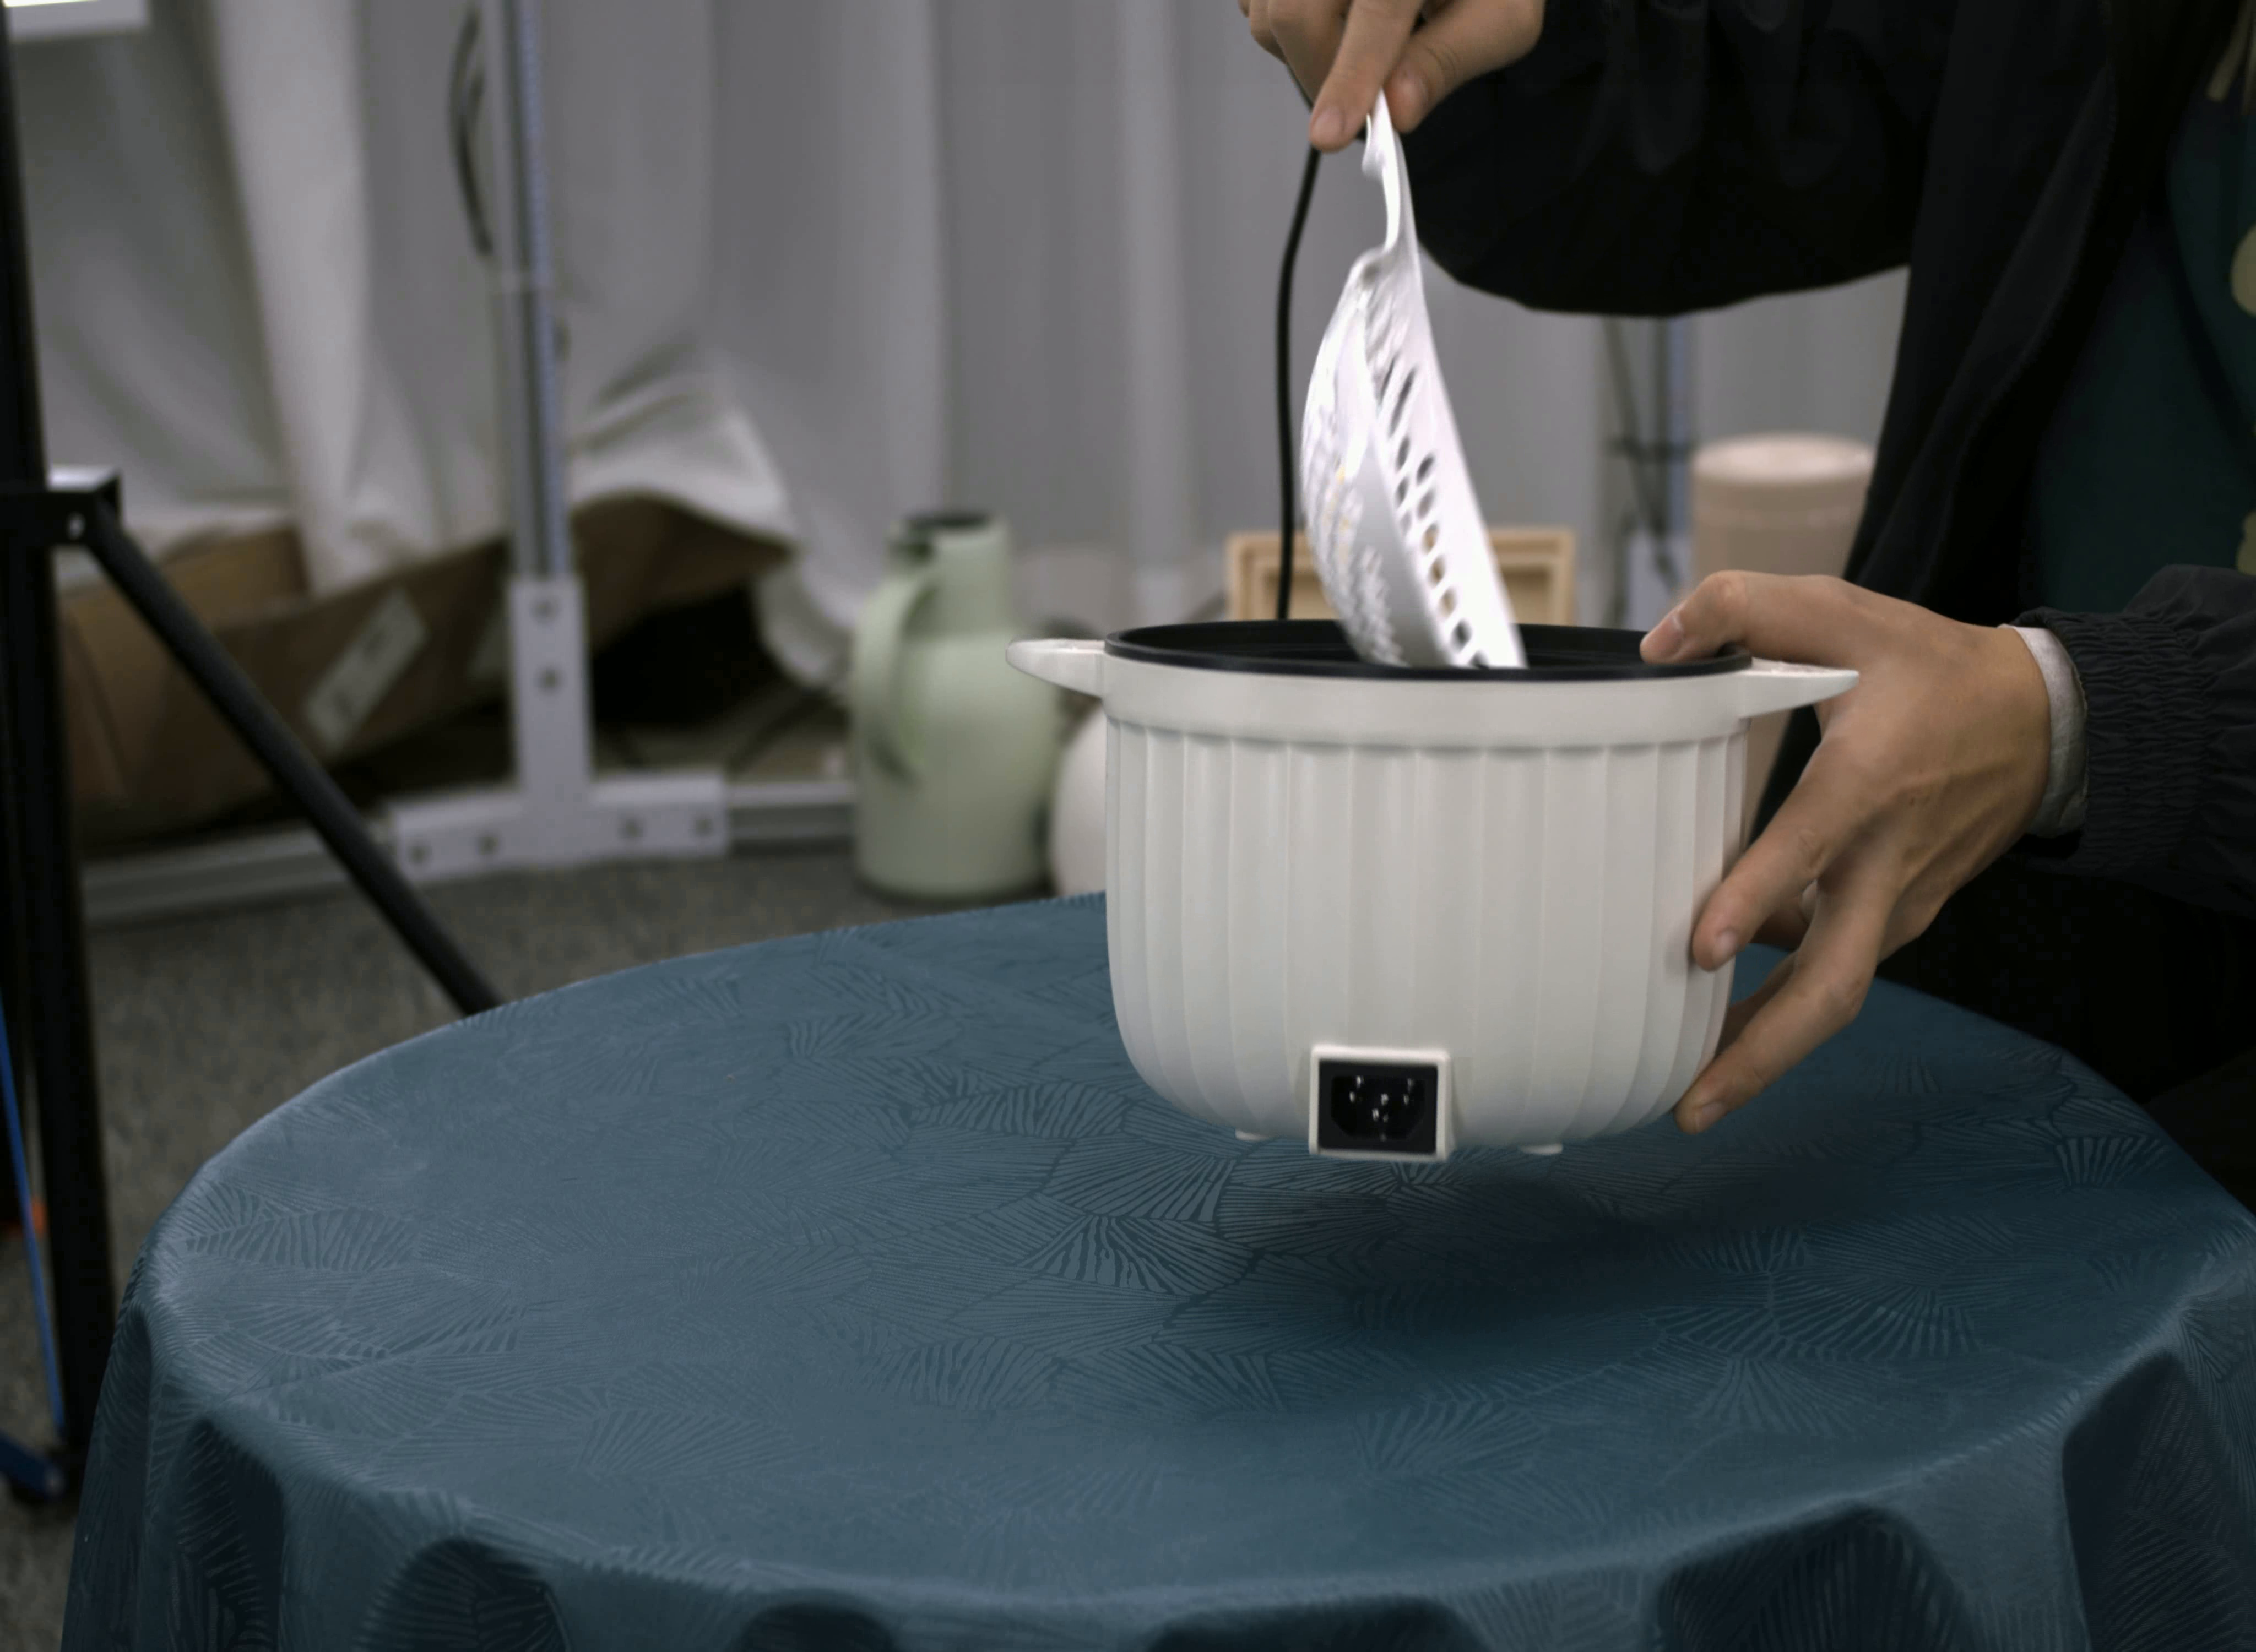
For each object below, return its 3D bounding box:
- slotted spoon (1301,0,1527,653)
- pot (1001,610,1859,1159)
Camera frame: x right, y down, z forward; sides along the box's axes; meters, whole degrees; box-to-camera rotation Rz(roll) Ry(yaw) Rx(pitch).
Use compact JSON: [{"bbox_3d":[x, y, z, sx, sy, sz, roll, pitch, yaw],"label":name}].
[{"bbox_3d":[0.072,-0.158,1.573,0.050,0.134,0.351,-15,45,16],"label":"slotted spoon"},{"bbox_3d":[0.081,0.013,1.491,0.241,0.143,0.189,3,9,11],"label":"pot"}]
